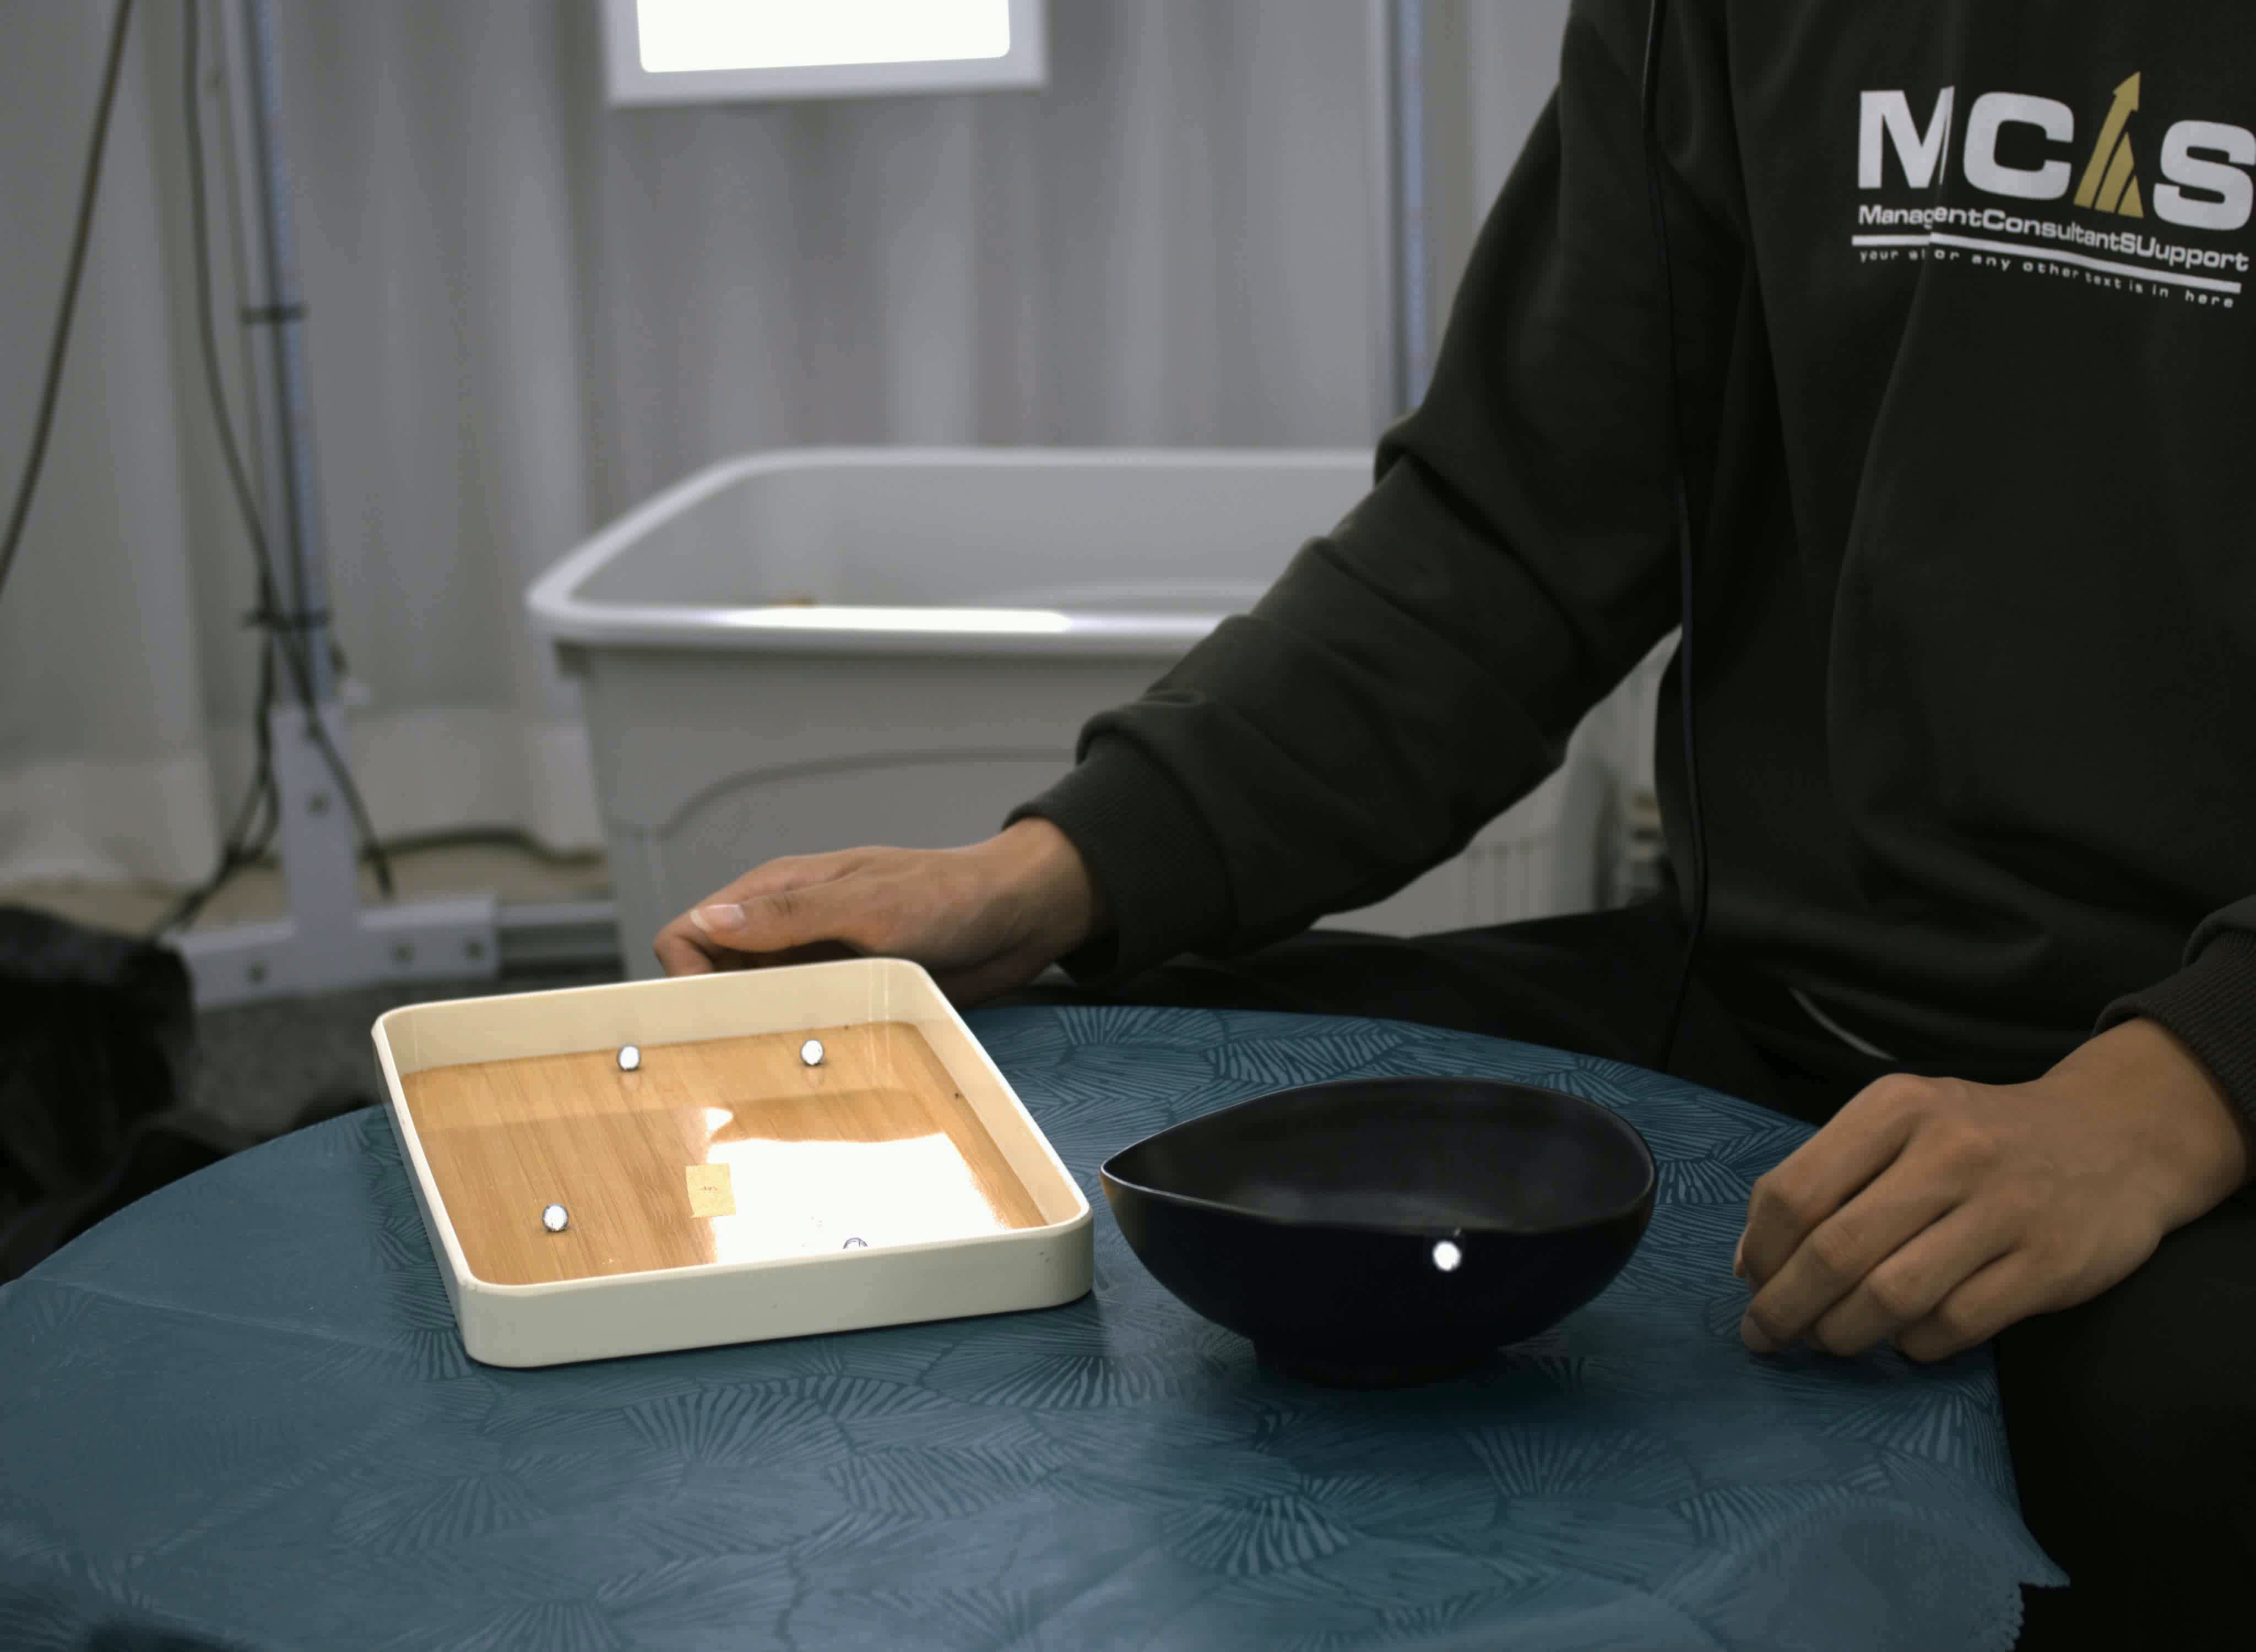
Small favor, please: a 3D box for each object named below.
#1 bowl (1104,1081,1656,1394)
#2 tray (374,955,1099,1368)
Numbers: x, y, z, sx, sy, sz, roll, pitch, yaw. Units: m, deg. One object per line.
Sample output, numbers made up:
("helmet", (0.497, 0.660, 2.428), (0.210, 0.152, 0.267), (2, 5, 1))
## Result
("bowl", (0.071, 0.122, 1.562), (0.171, 0.066, 0.137), (5, 15, 34))
("tray", (-0.131, 0.102, 1.736), (0.191, 0.027, 0.303), (-6, 16, -12))
